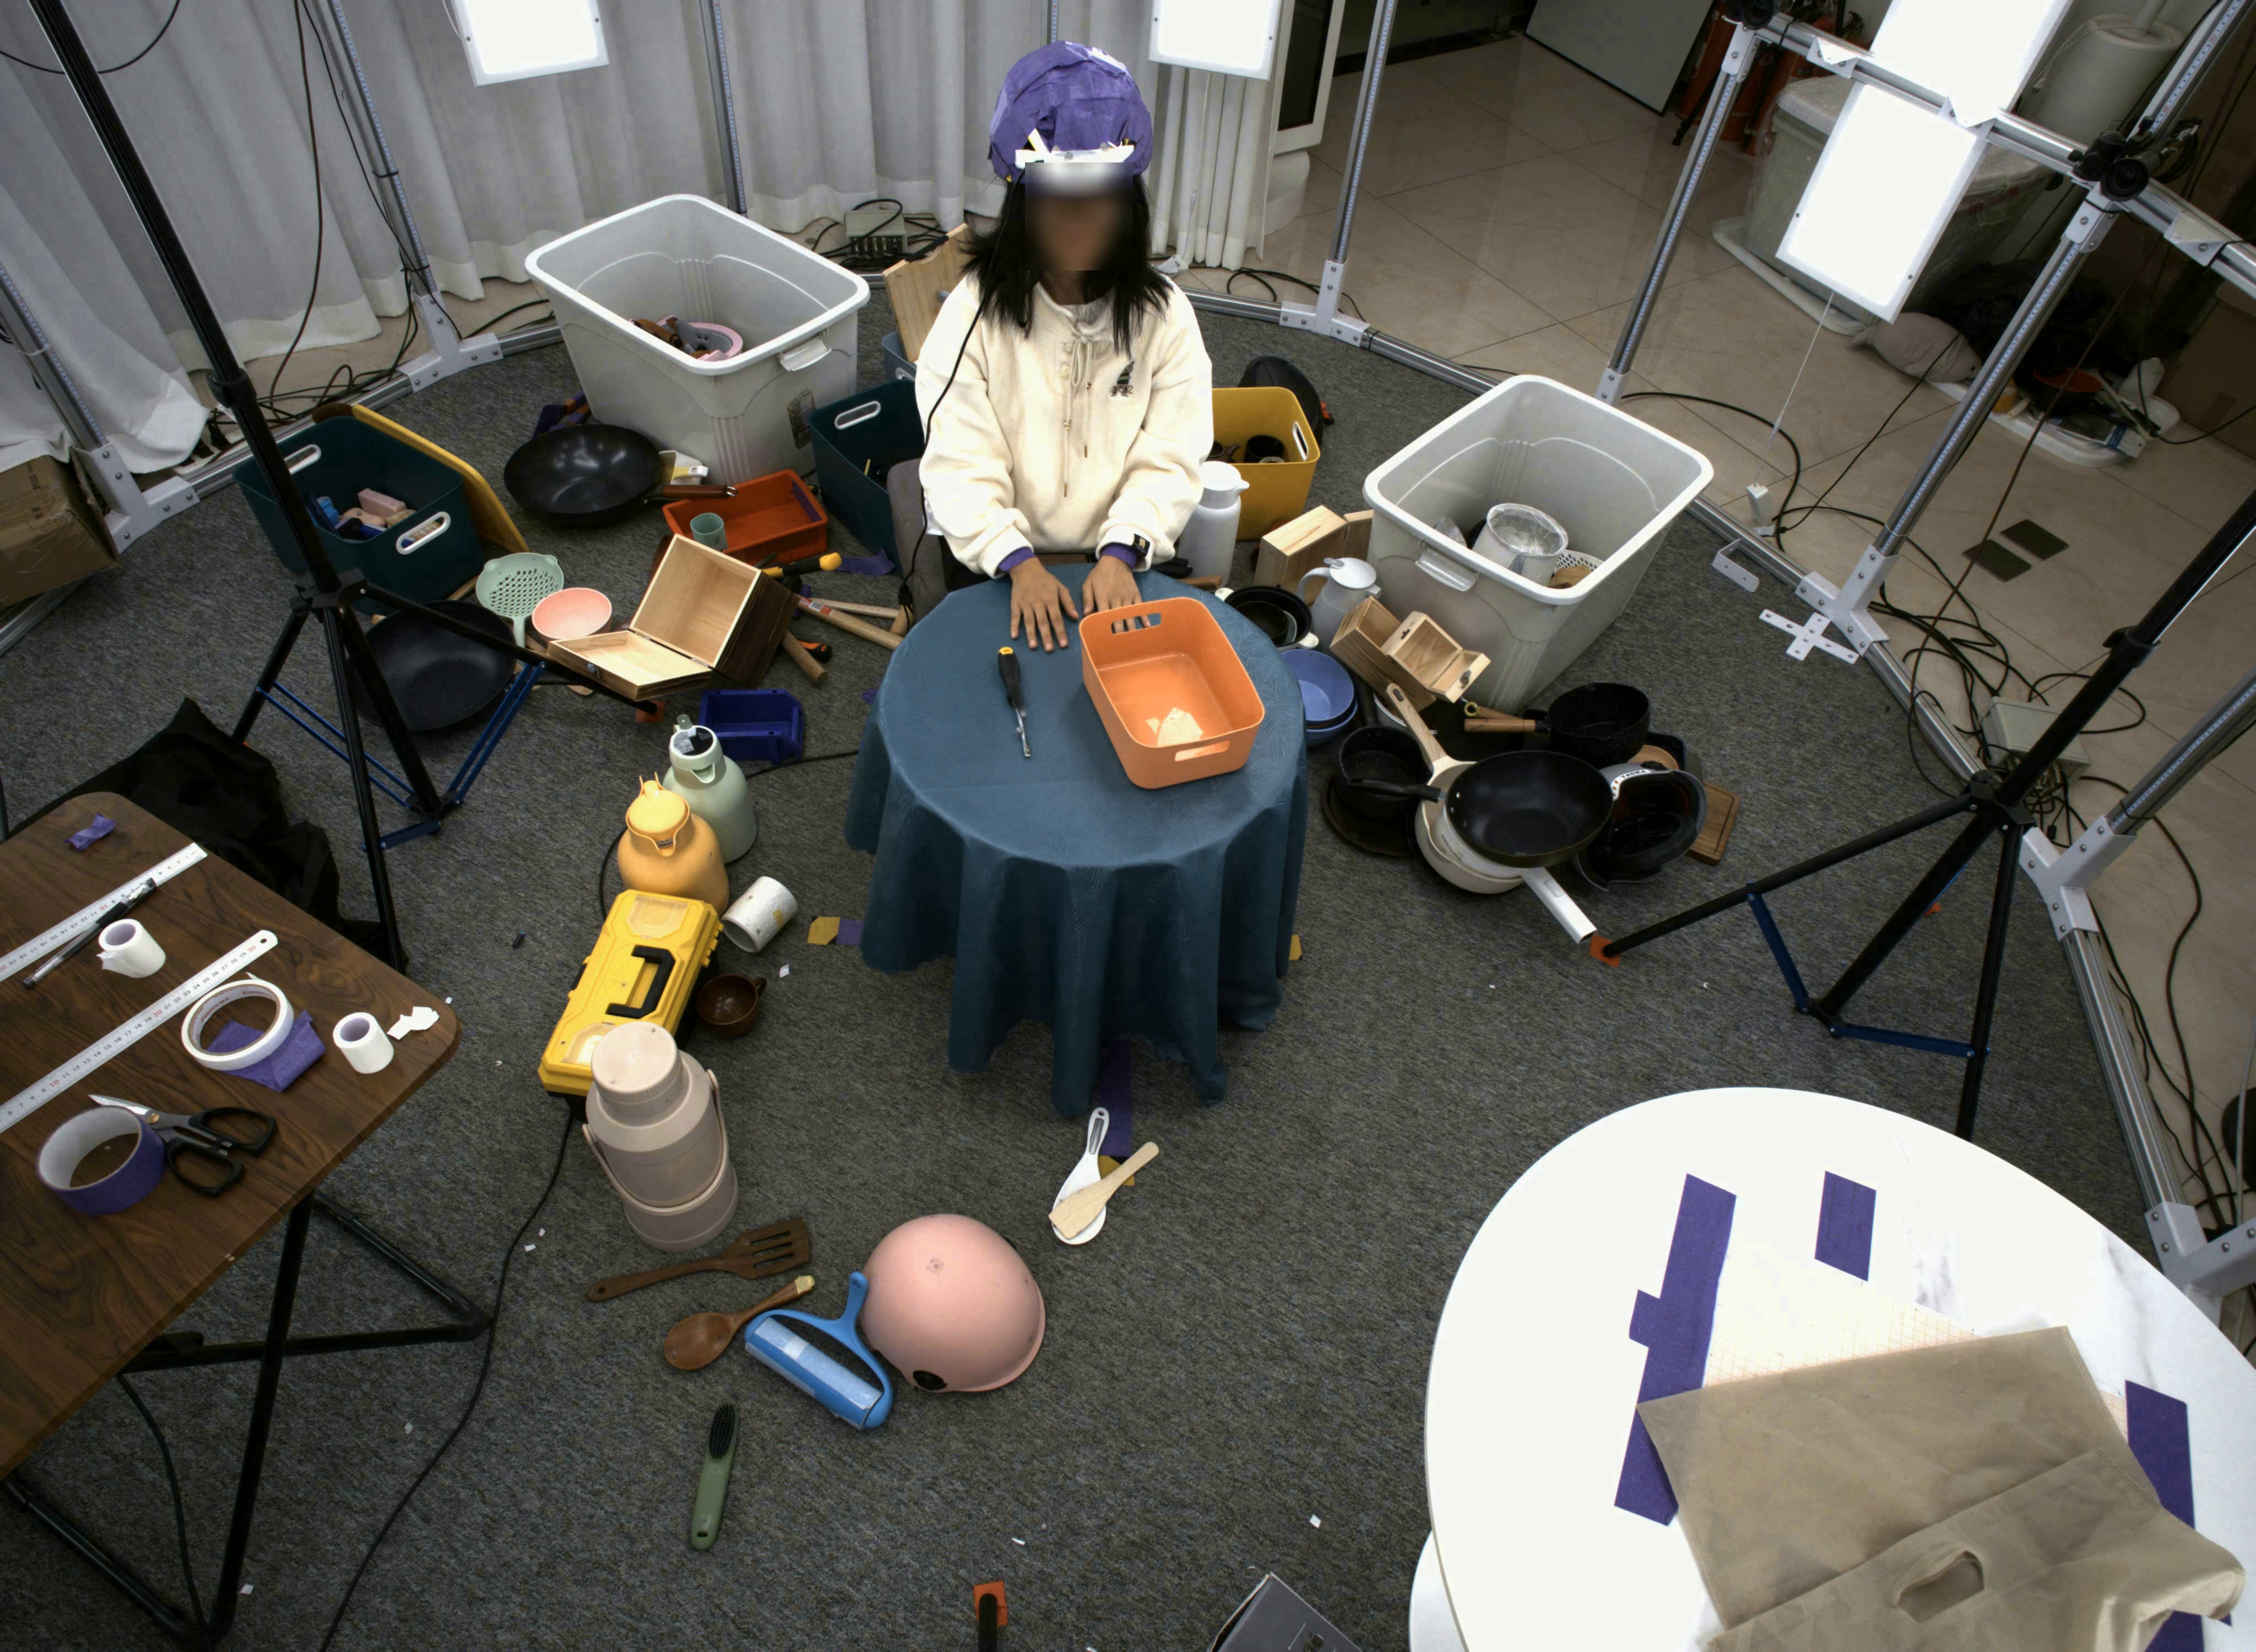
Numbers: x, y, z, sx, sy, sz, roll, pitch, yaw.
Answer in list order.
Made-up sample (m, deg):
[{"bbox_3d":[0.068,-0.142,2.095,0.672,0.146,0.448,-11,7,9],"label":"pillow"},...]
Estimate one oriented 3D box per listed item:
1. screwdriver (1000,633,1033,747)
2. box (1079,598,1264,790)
[{"bbox_3d":[-0.149,-0.191,1.795,0.031,0.031,0.202,-9,59,-13],"label":"screwdriver"},{"bbox_3d":[0.054,-0.181,1.764,0.199,0.100,0.280,-13,52,-14],"label":"box"}]
